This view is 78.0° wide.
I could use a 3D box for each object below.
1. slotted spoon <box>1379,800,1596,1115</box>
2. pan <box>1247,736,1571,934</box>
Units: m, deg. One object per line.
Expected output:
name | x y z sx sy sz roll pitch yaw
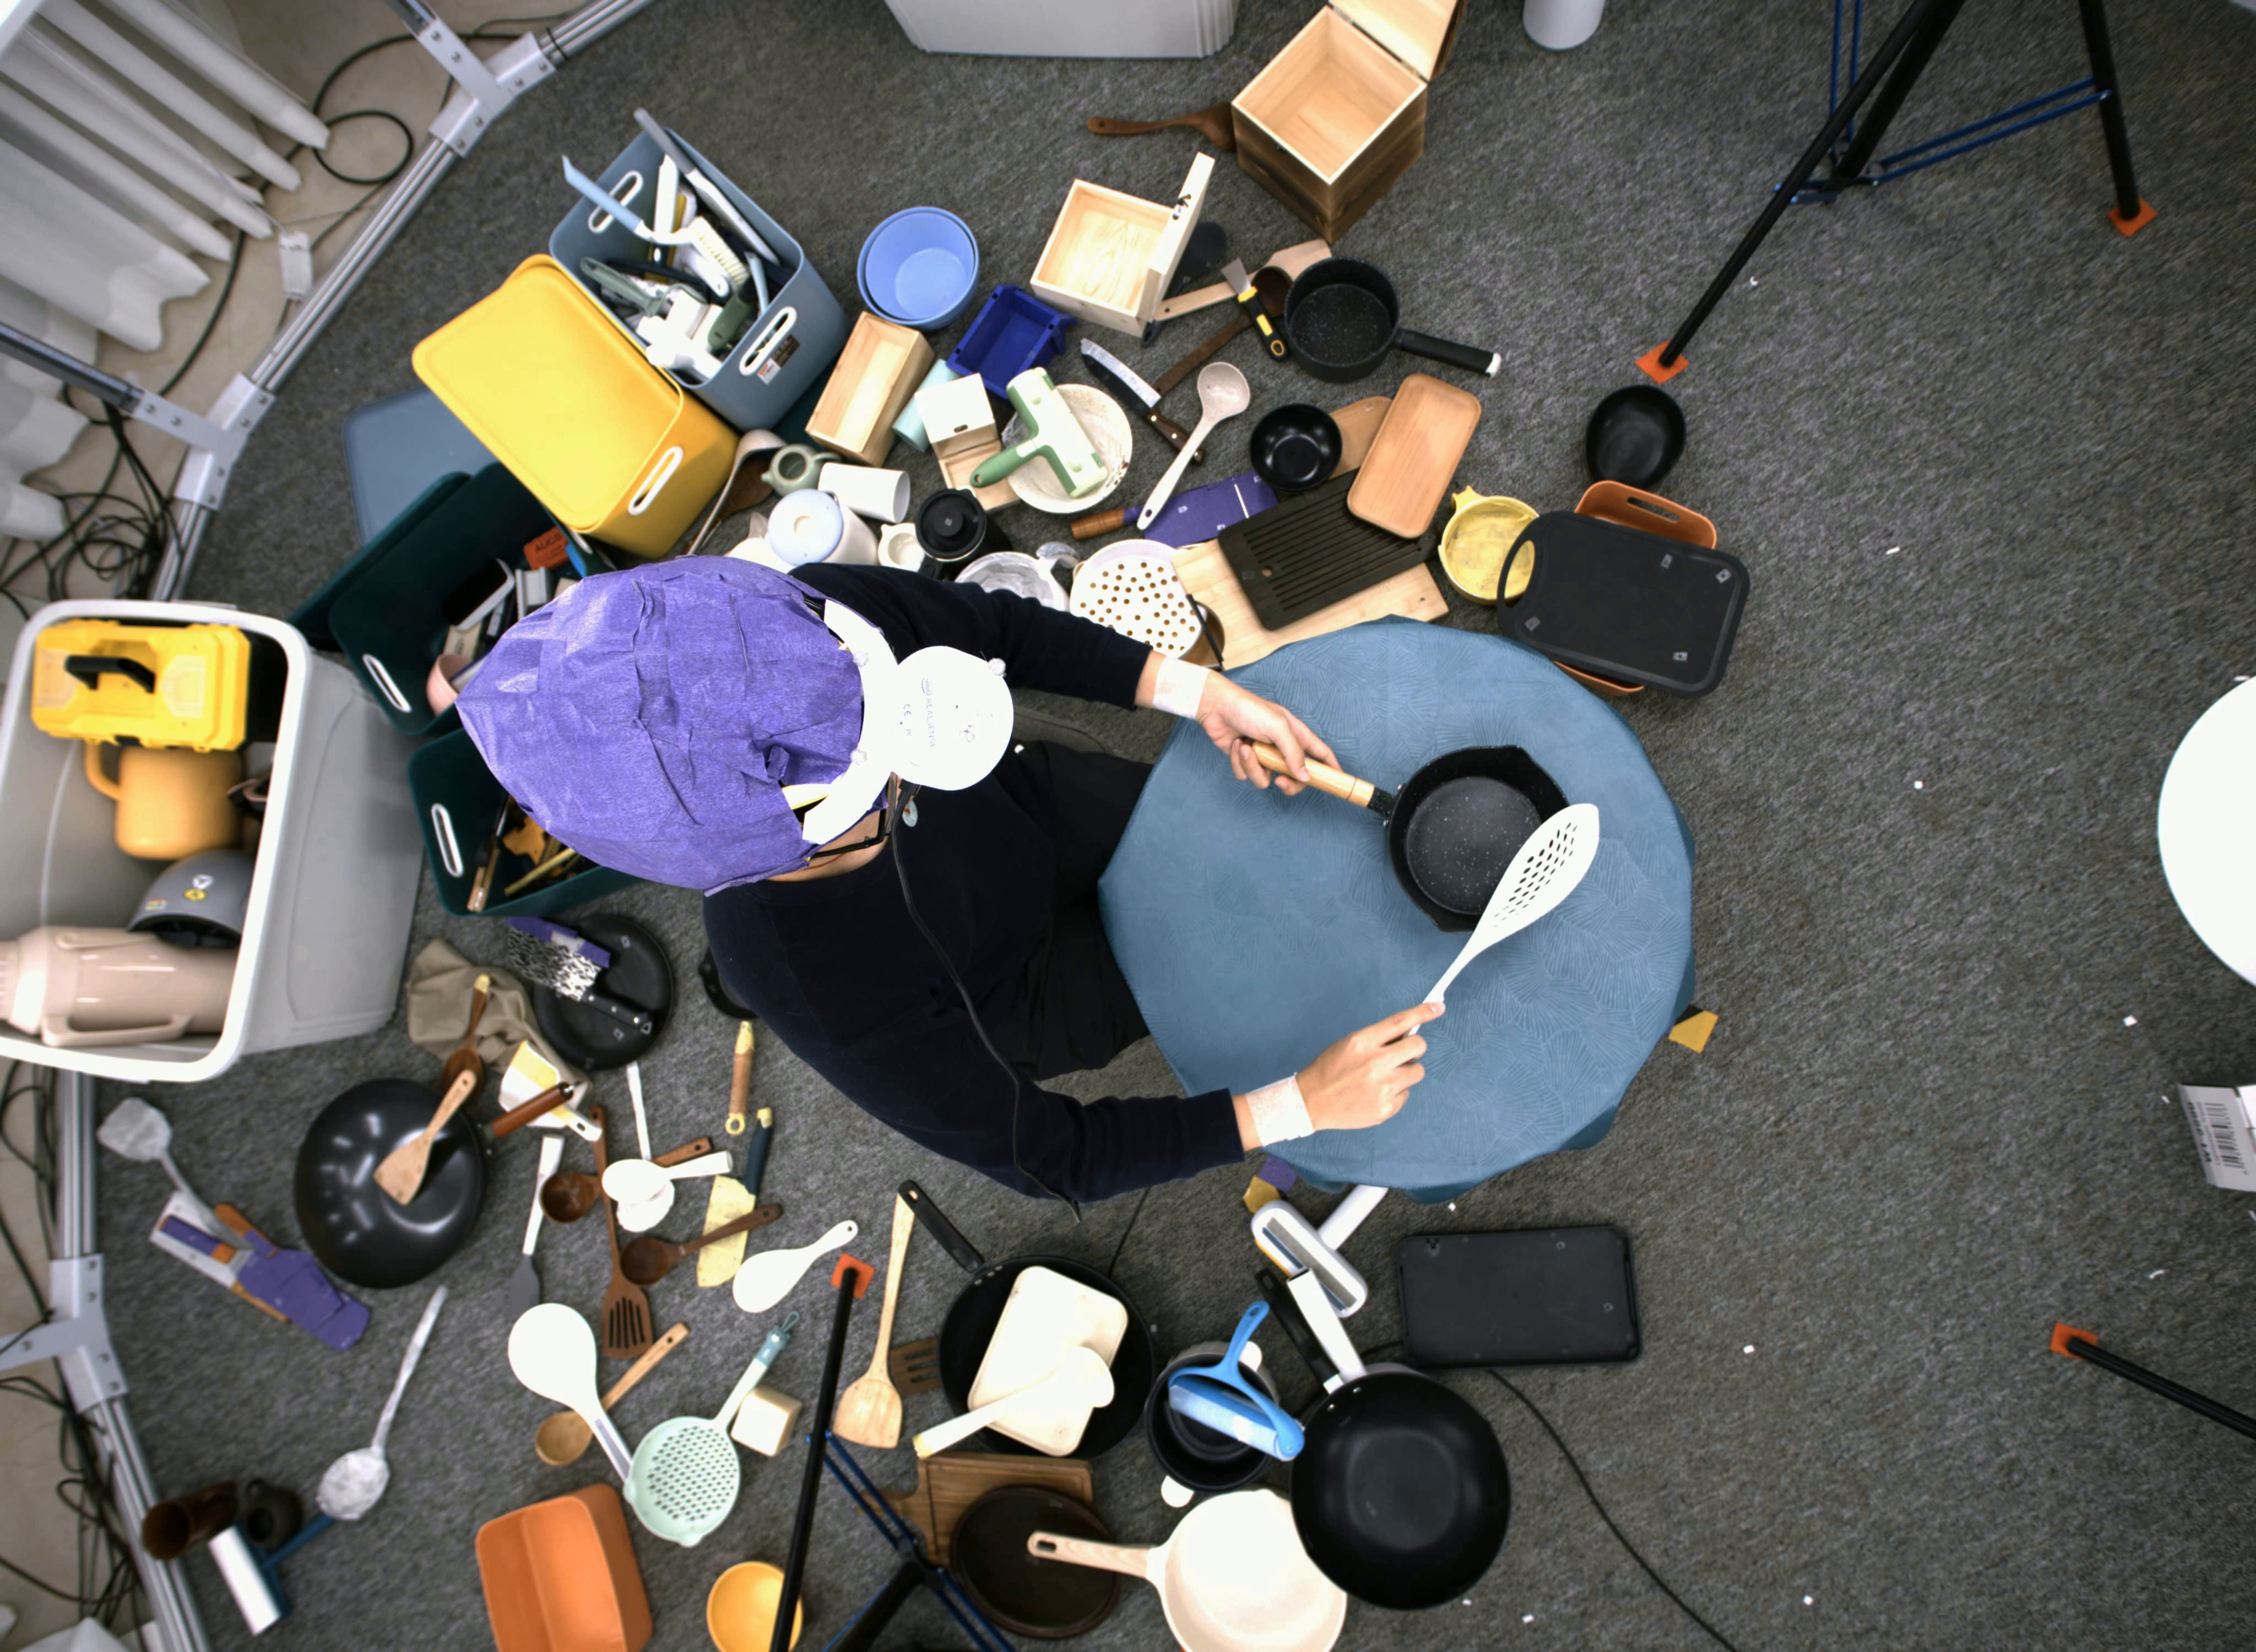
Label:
slotted spoon | 0.329 0.119 1.287 0.050 0.136 0.348 41 90 -4
pan | 0.283 -0.014 1.408 0.343 0.108 0.207 21 91 10
